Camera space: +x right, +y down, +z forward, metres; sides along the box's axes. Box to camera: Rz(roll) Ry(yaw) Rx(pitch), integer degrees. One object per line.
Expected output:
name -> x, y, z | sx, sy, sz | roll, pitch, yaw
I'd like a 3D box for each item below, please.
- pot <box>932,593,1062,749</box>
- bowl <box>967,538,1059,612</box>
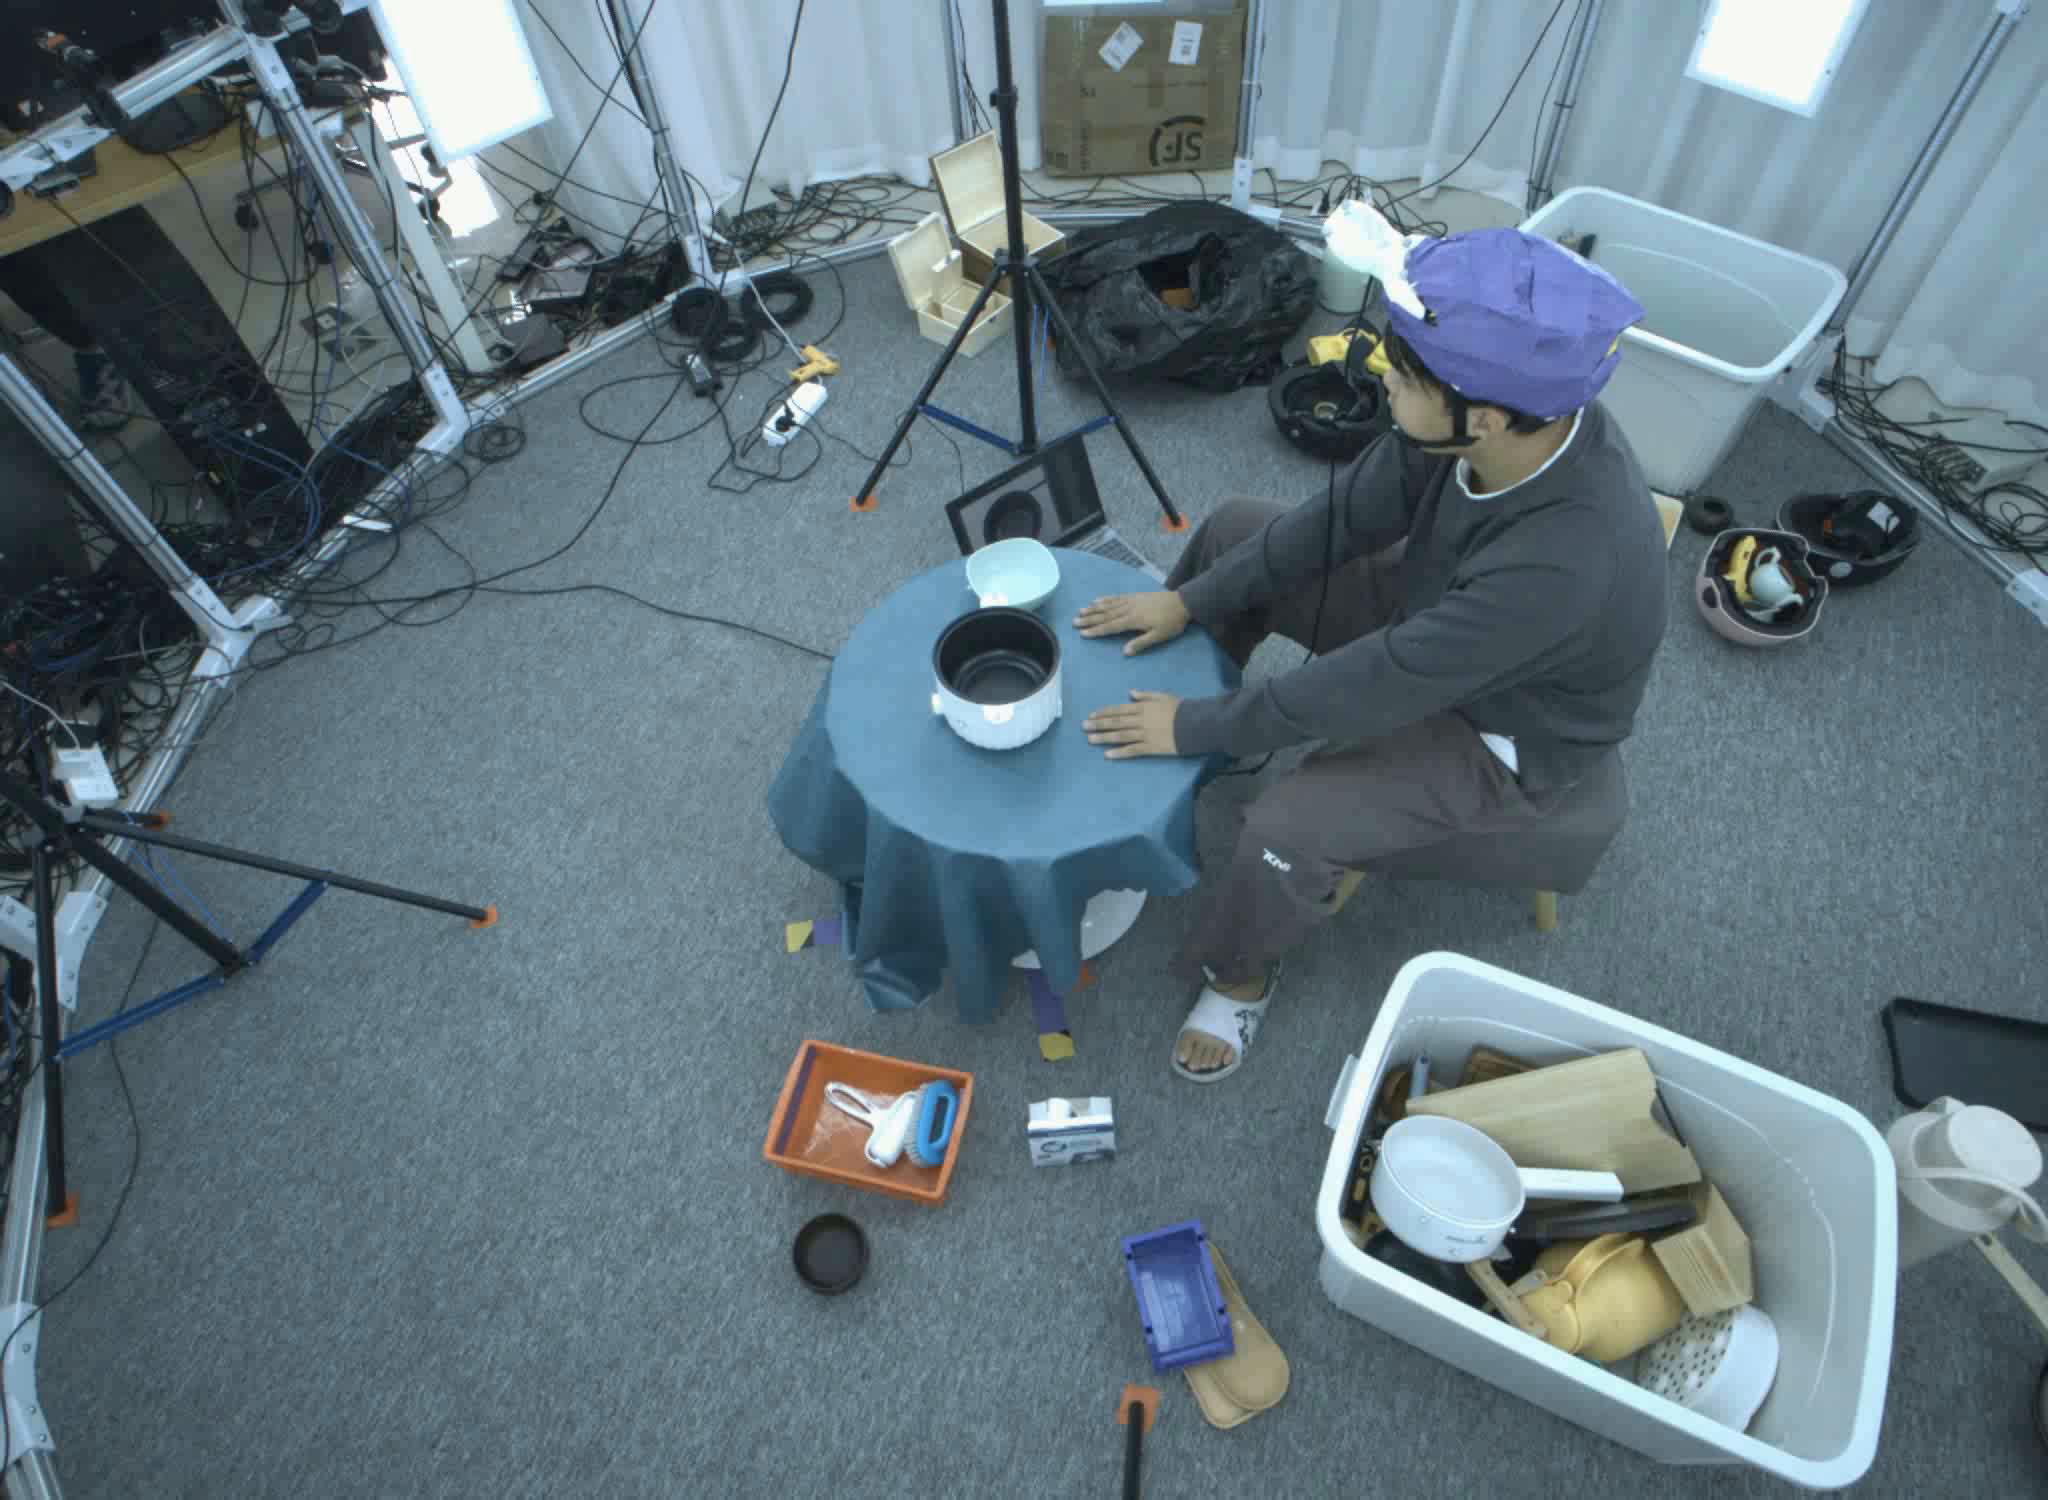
pot -> -0.040, -0.095, 1.769 | 0.191, 0.144, 0.237 | -3, 53, -4
bowl -> -0.017, -0.264, 1.939 | 0.151, 0.059, 0.150 | -1, 55, 3
